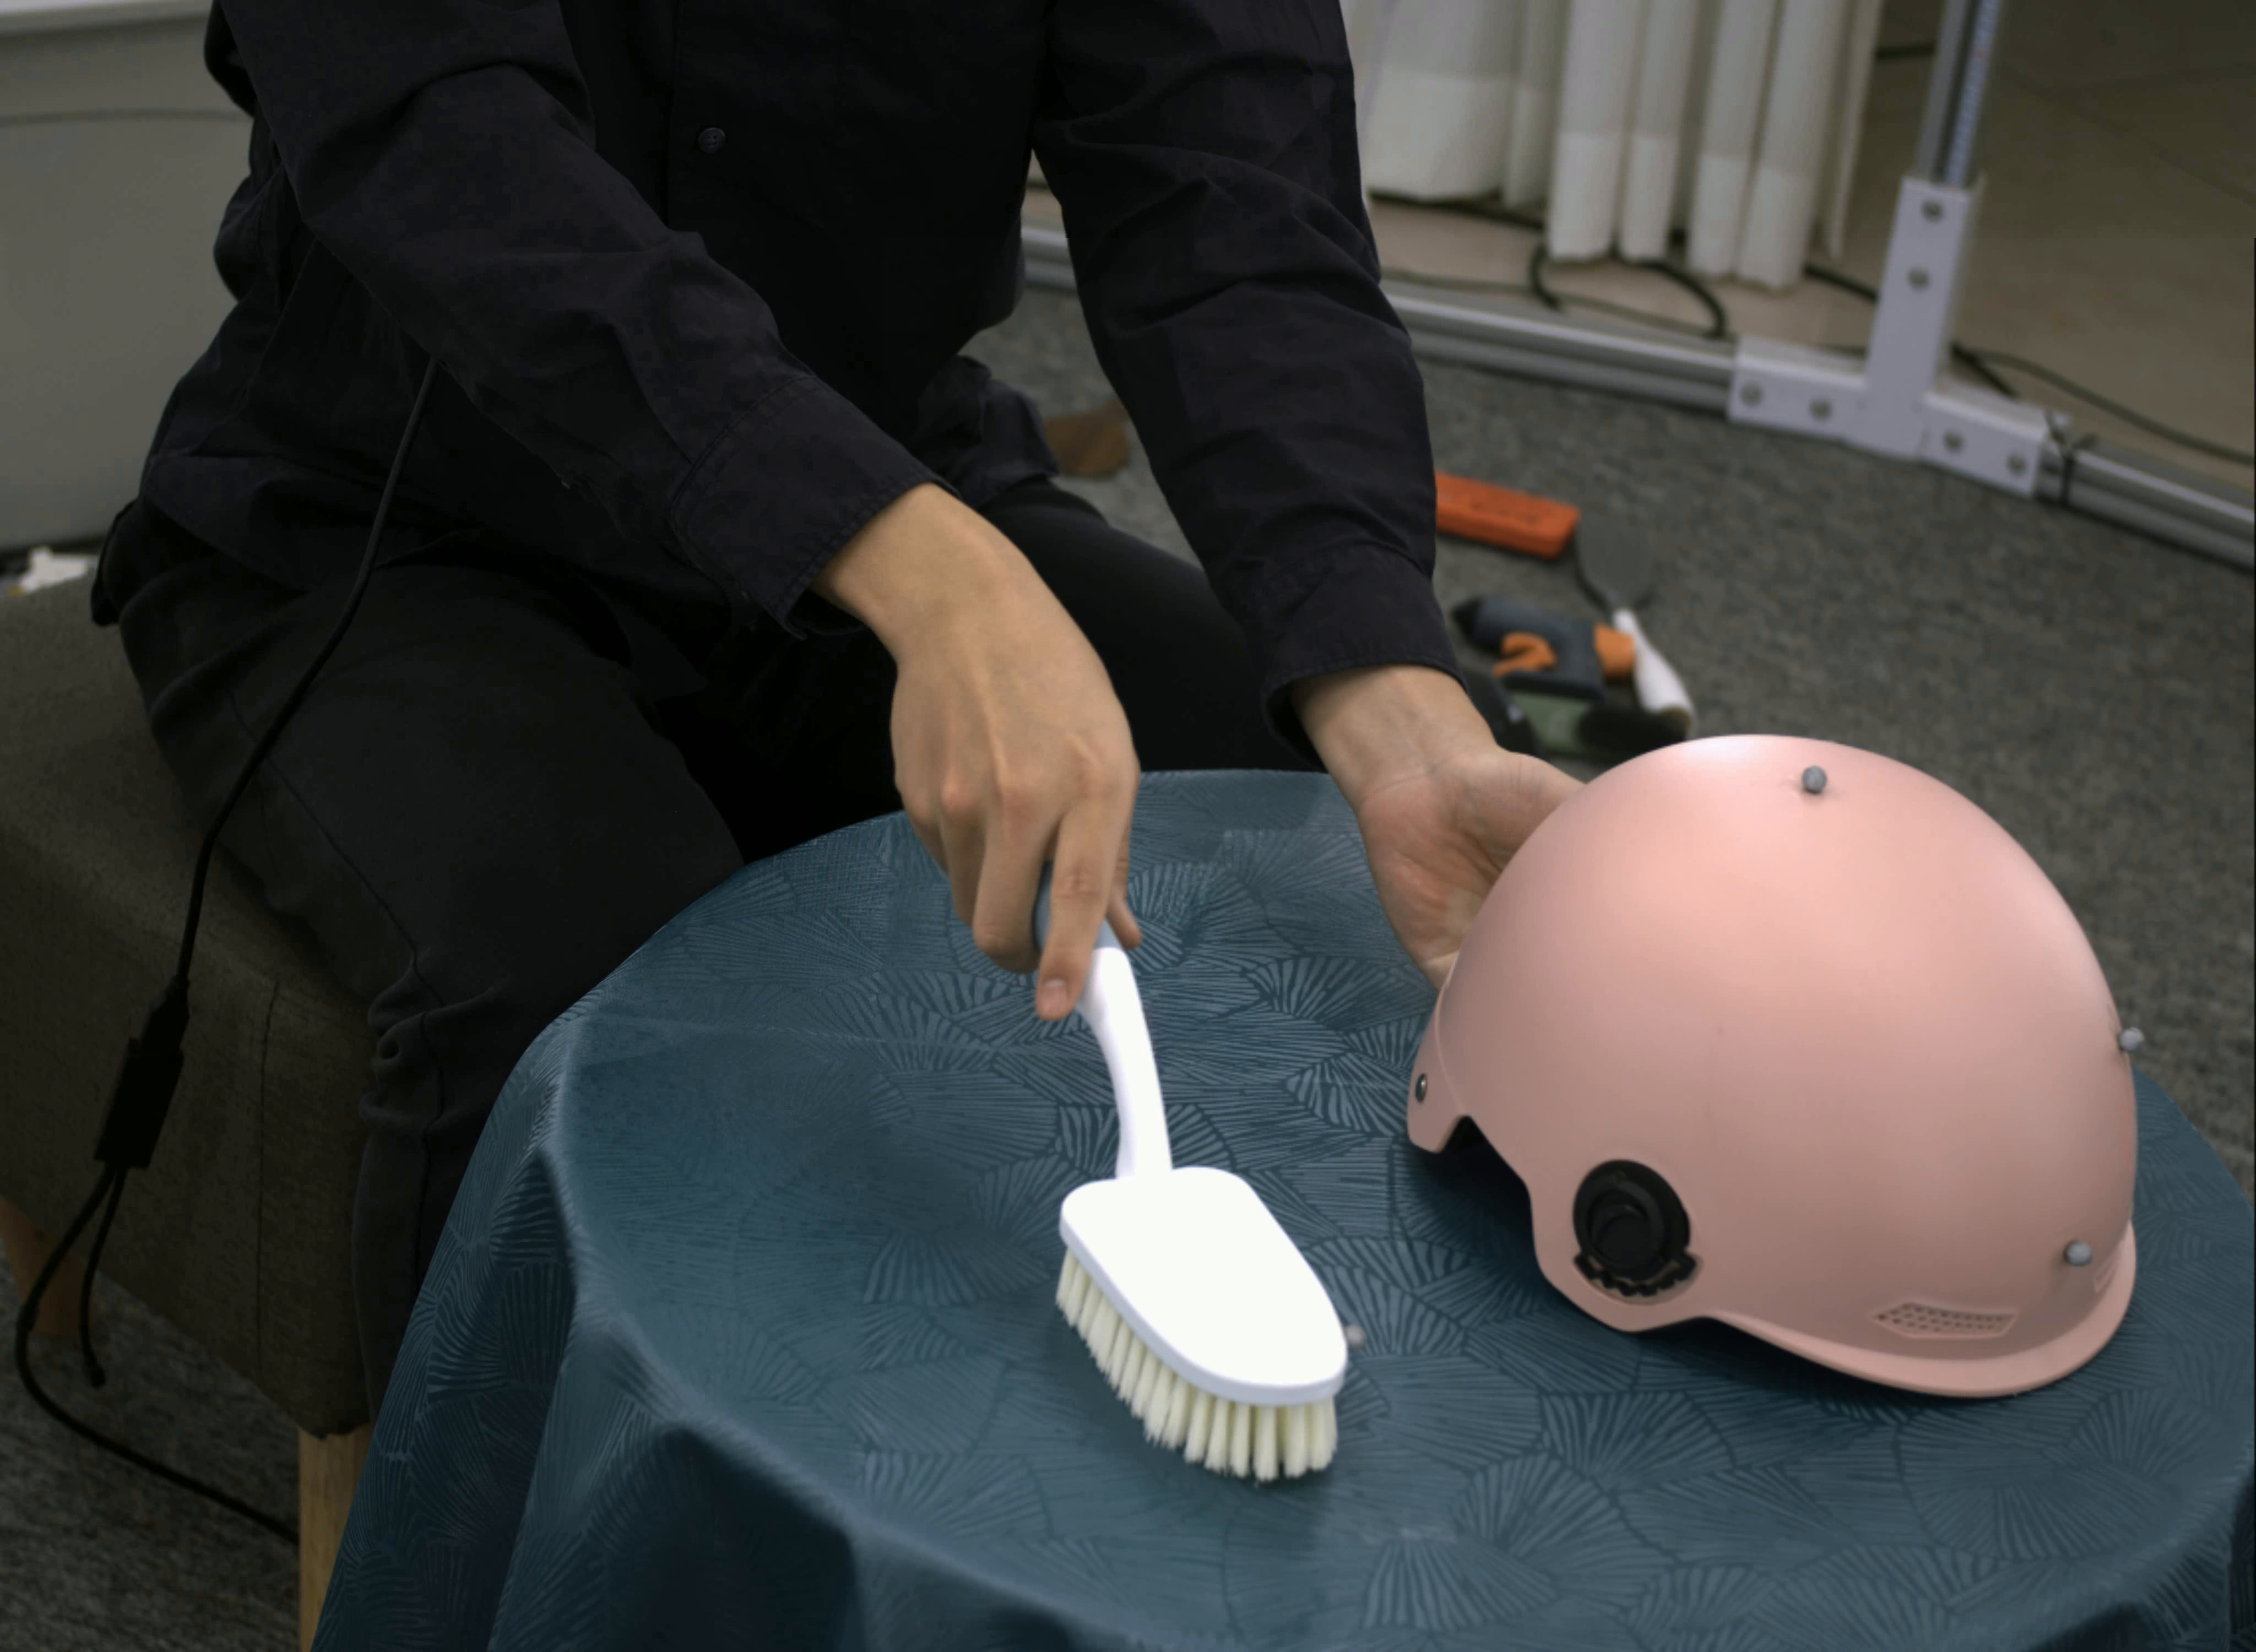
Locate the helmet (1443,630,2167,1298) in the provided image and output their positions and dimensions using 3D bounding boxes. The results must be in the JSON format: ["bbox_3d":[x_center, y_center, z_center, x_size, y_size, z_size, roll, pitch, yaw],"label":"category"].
[{"bbox_3d":[0.248,0.028,1.822,0.233,0.158,0.268,-17,42,-39],"label":"helmet"}]

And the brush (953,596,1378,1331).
[{"bbox_3d":[0.005,0.052,1.786,0.082,0.084,0.328,30,22,-45],"label":"brush"}]
